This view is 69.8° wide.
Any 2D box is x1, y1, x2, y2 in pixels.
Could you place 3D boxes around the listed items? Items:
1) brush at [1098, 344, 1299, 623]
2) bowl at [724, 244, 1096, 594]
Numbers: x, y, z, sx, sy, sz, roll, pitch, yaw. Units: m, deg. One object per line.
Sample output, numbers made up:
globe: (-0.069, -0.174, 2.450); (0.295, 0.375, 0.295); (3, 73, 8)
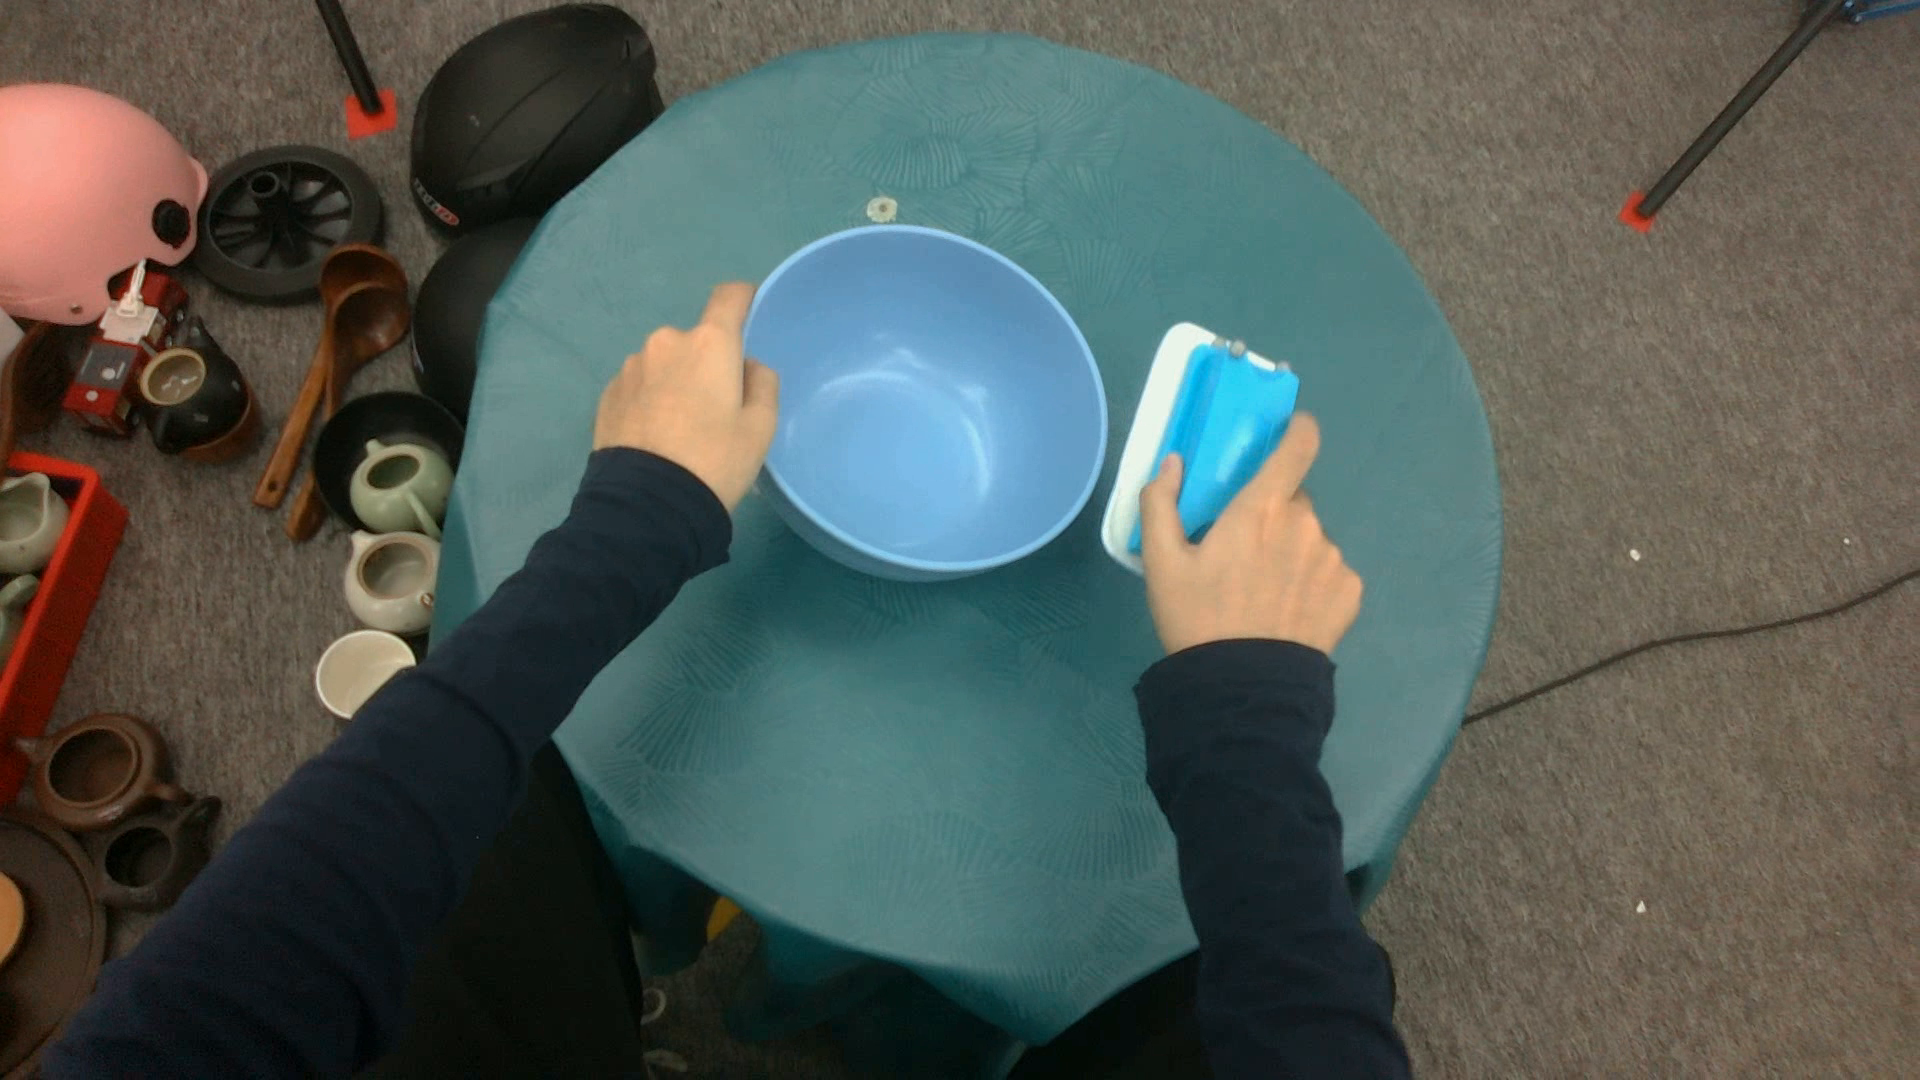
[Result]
brush: (0.128, -0.035, 0.695); (0.084, 0.055, 0.144); (23, 69, -9)
bowl: (-0.035, -0.051, 0.740); (0.197, 0.095, 0.197); (8, 62, -15)
